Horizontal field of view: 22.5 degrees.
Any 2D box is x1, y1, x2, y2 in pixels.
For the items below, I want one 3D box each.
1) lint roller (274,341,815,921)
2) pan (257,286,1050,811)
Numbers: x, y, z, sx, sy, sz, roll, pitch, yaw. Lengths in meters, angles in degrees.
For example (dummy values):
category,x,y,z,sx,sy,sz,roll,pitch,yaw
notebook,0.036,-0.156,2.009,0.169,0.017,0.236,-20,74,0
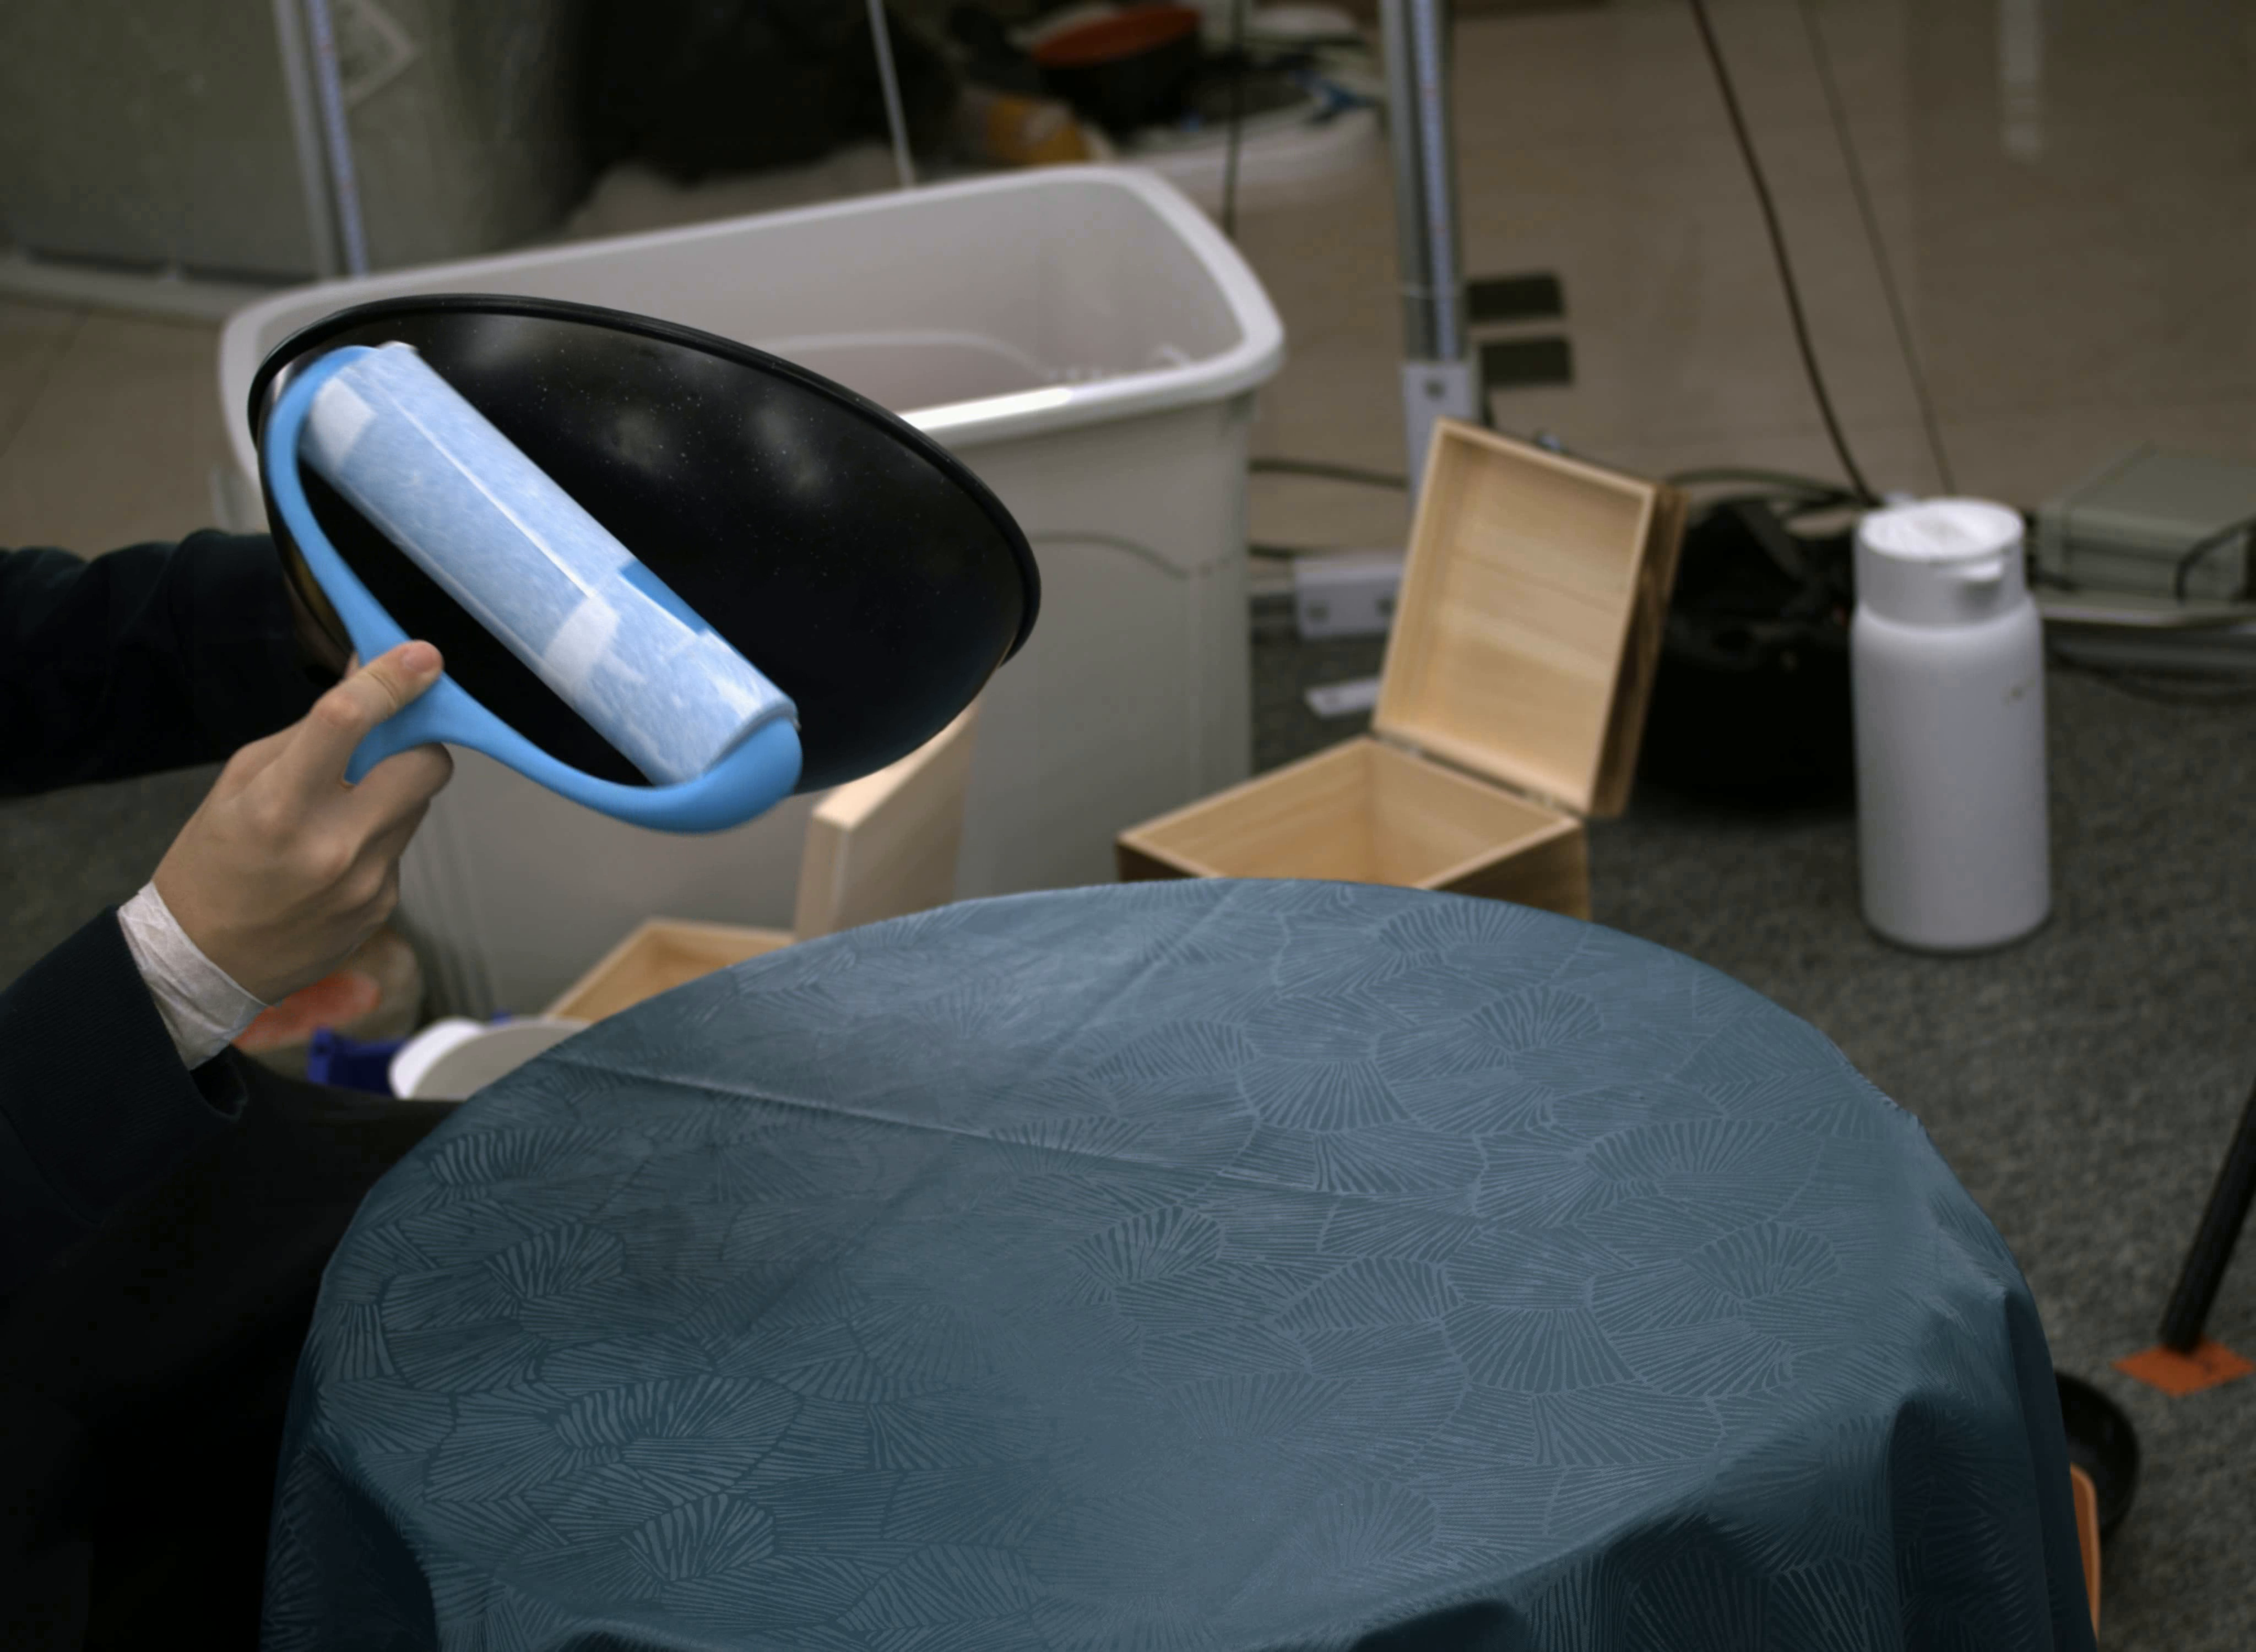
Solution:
category,x,y,z,sx,sy,sz,roll,pitch,yaw
lint roller,-0.233,-0.040,1.944,0.228,0.181,0.068,39,6,11
pan,-0.224,-0.072,2.193,0.311,0.110,0.480,24,-25,-20
